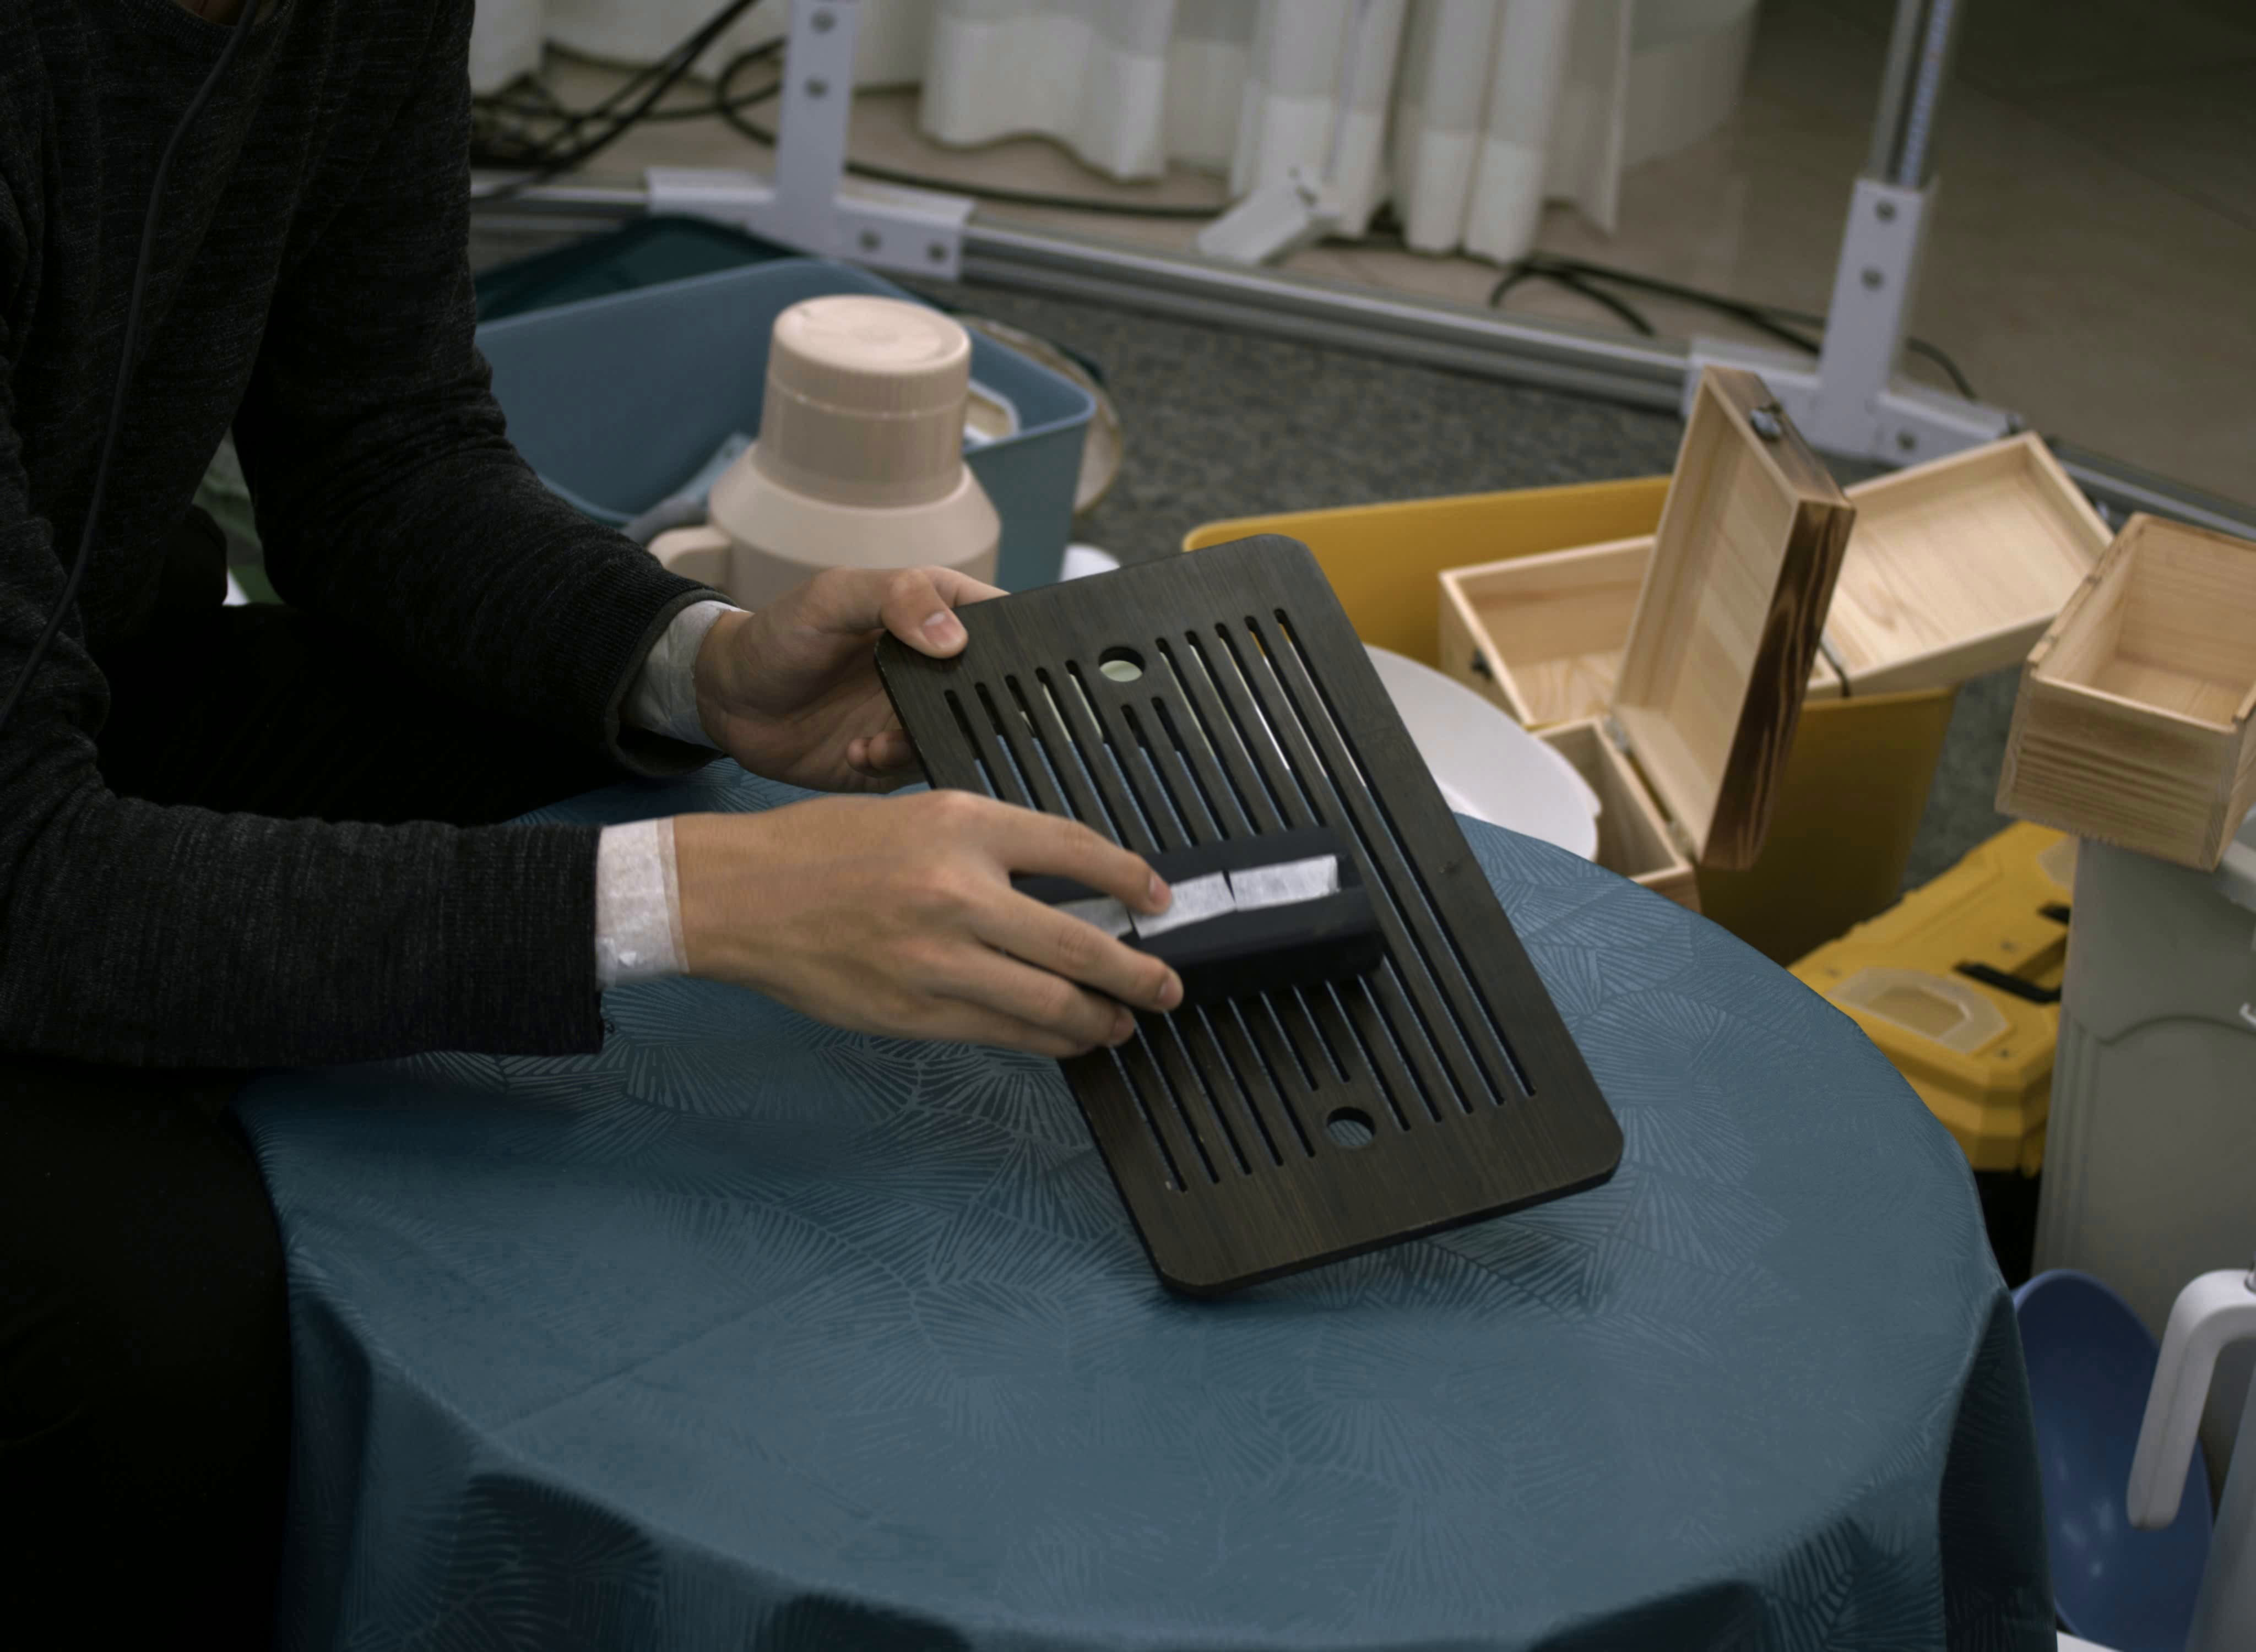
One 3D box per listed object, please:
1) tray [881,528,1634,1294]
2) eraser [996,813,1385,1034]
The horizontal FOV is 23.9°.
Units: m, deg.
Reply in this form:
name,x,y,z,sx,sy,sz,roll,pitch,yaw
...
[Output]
name,x,y,z,sx,sy,sz,roll,pitch,yaw
tray,0.040,0.024,1.849,0.169,0.018,0.309,-14,53,-16
eraser,0.021,0.032,1.814,0.125,0.030,0.054,-12,49,-11
